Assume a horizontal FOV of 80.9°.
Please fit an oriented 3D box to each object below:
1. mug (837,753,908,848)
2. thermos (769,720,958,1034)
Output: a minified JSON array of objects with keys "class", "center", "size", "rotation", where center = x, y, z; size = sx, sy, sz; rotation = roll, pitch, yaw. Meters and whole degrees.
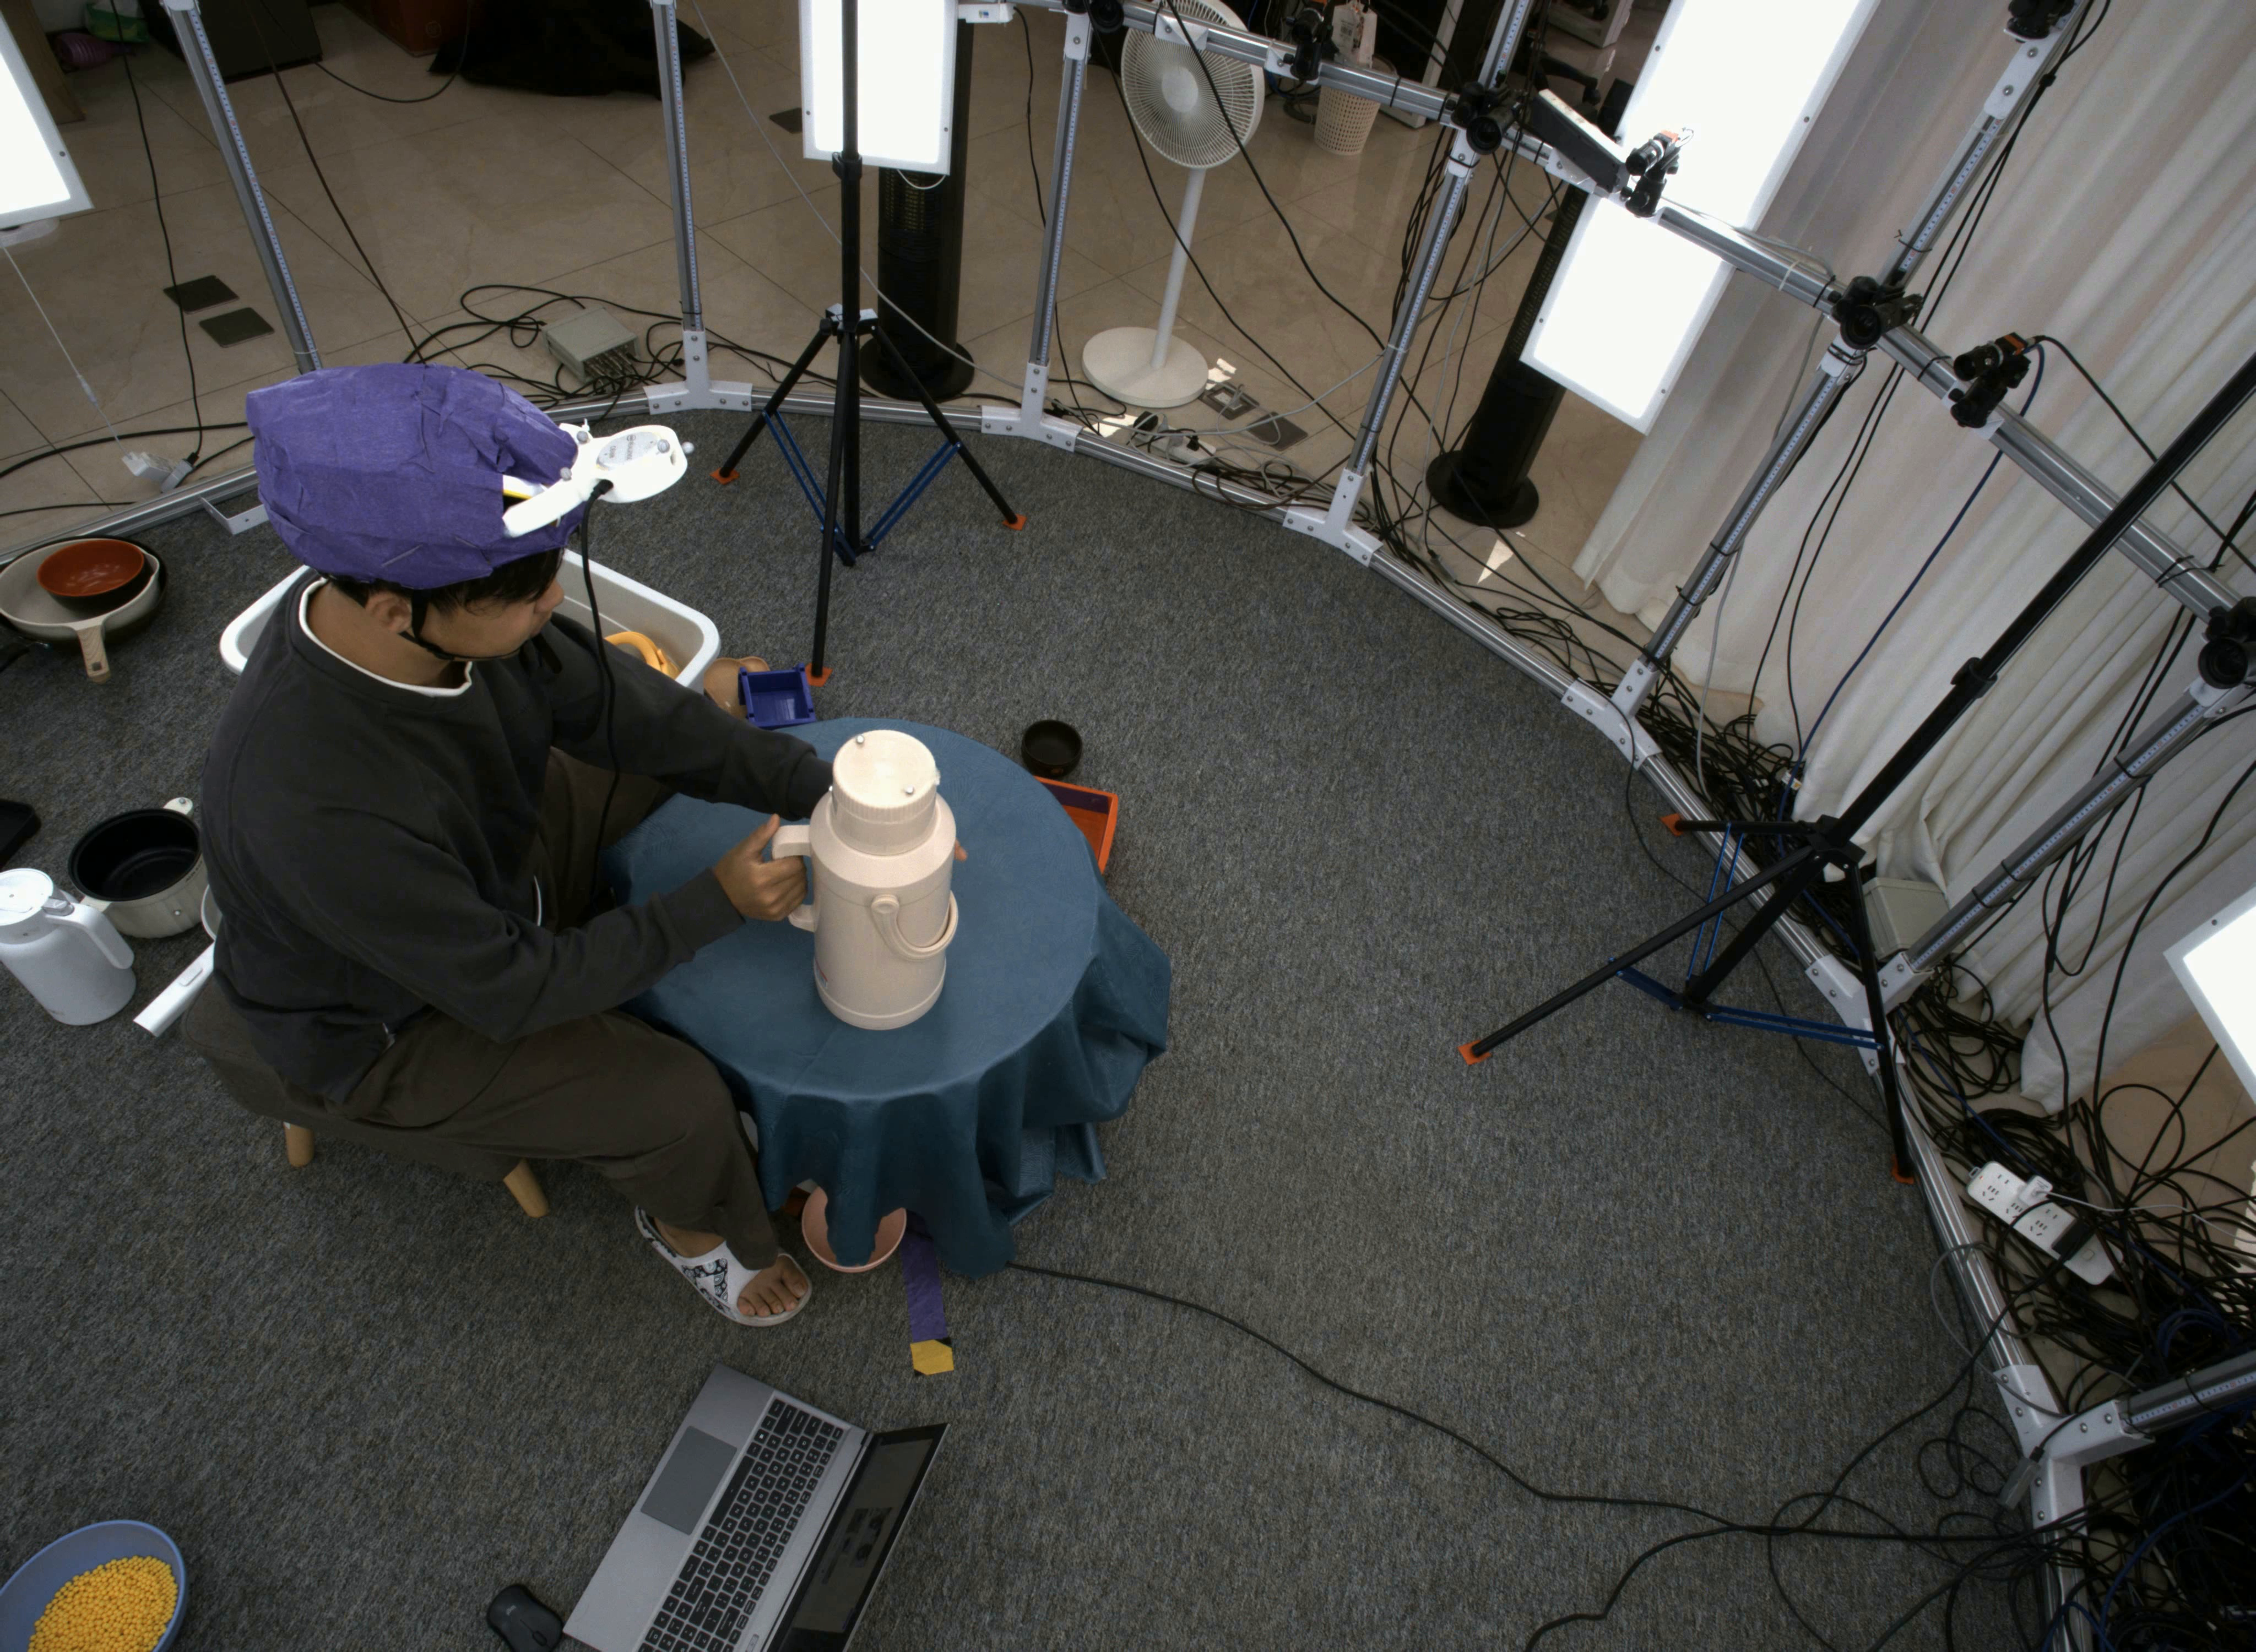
[{"class":"mug","center":[-0.341,-0.042,1.713],"size":[0.094,0.092,0.120],"rotation":[-13,57,-22]},{"class":"thermos","center":[-0.291,0.060,1.452],"size":[0.207,0.415,0.171],"rotation":[-2,53,-14]}]
